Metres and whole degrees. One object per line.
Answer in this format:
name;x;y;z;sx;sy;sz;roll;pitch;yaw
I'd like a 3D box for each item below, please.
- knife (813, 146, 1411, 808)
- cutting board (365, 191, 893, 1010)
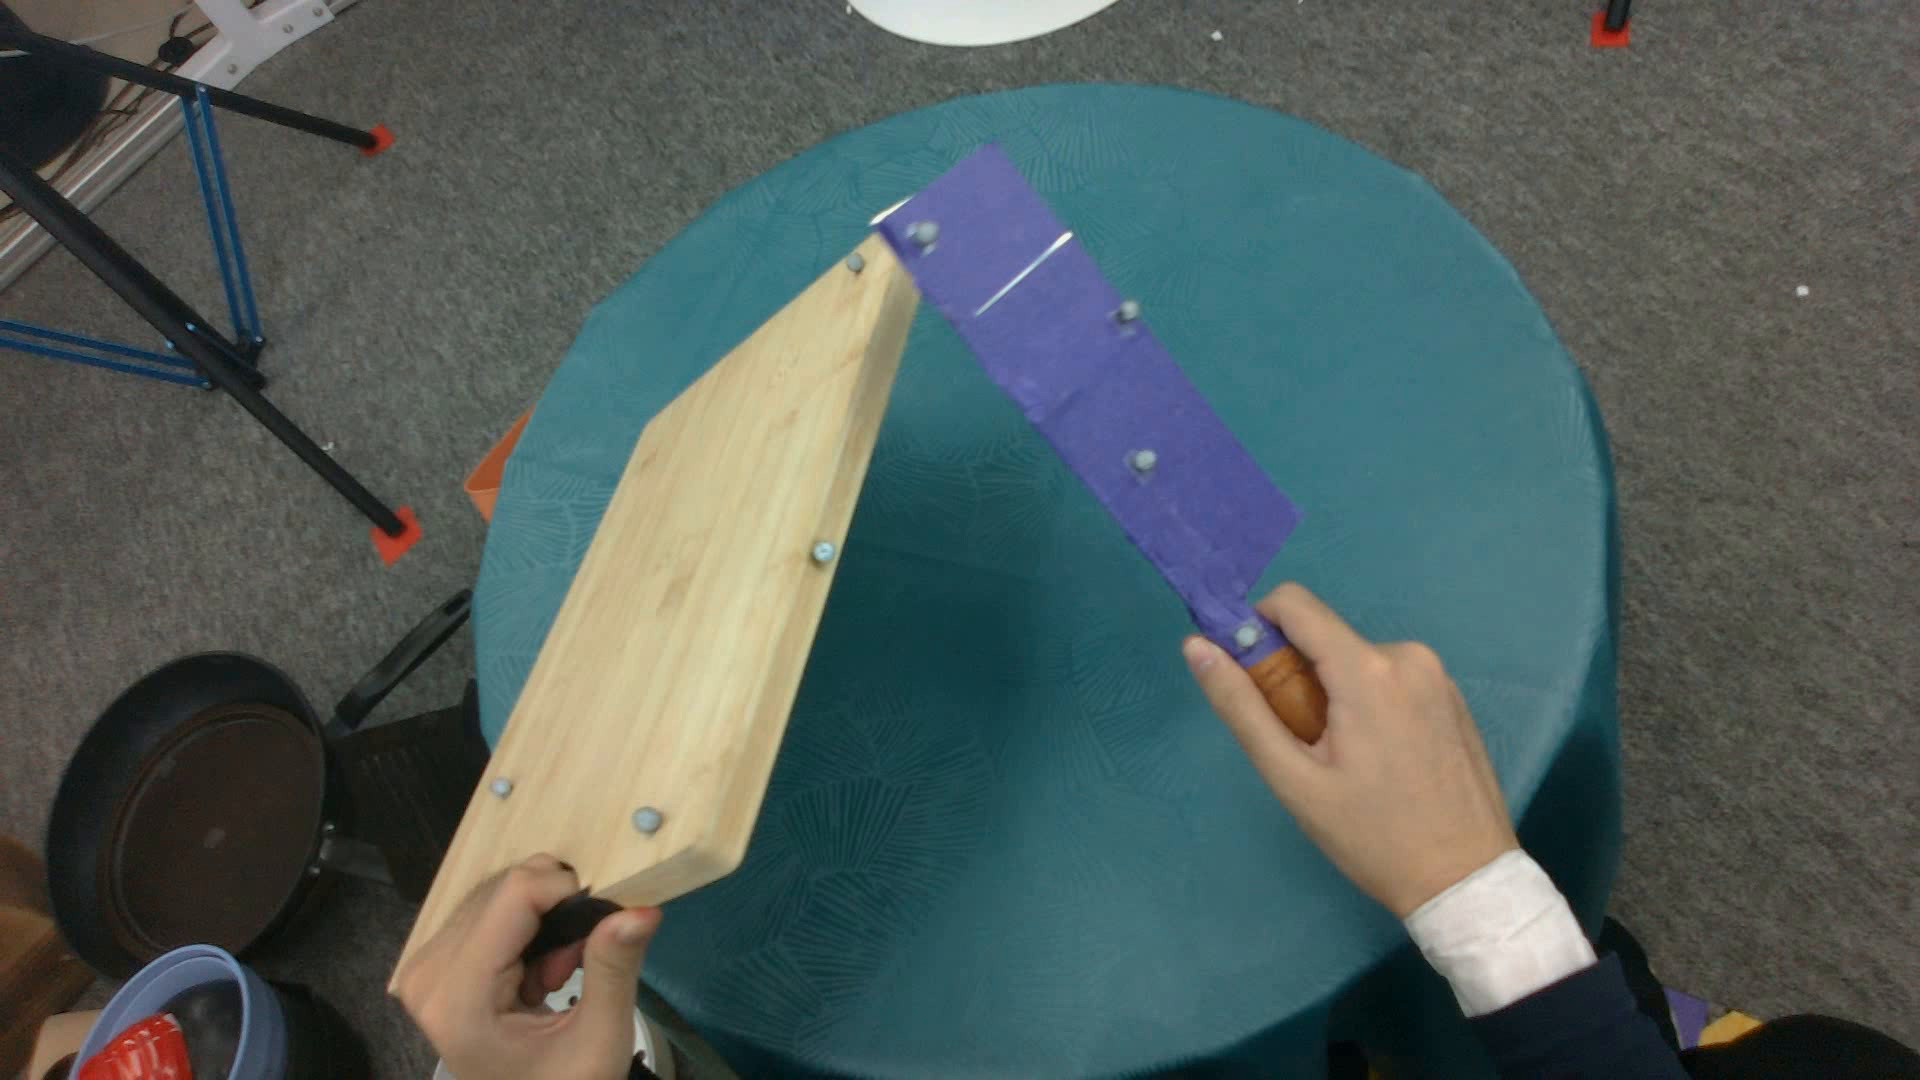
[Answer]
knife;0.078;-0.033;0.553;0.315;0.032;0.104;47;49;-6
cutting board;-0.132;0.015;0.606;0.249;0.023;0.350;-32;34;39
